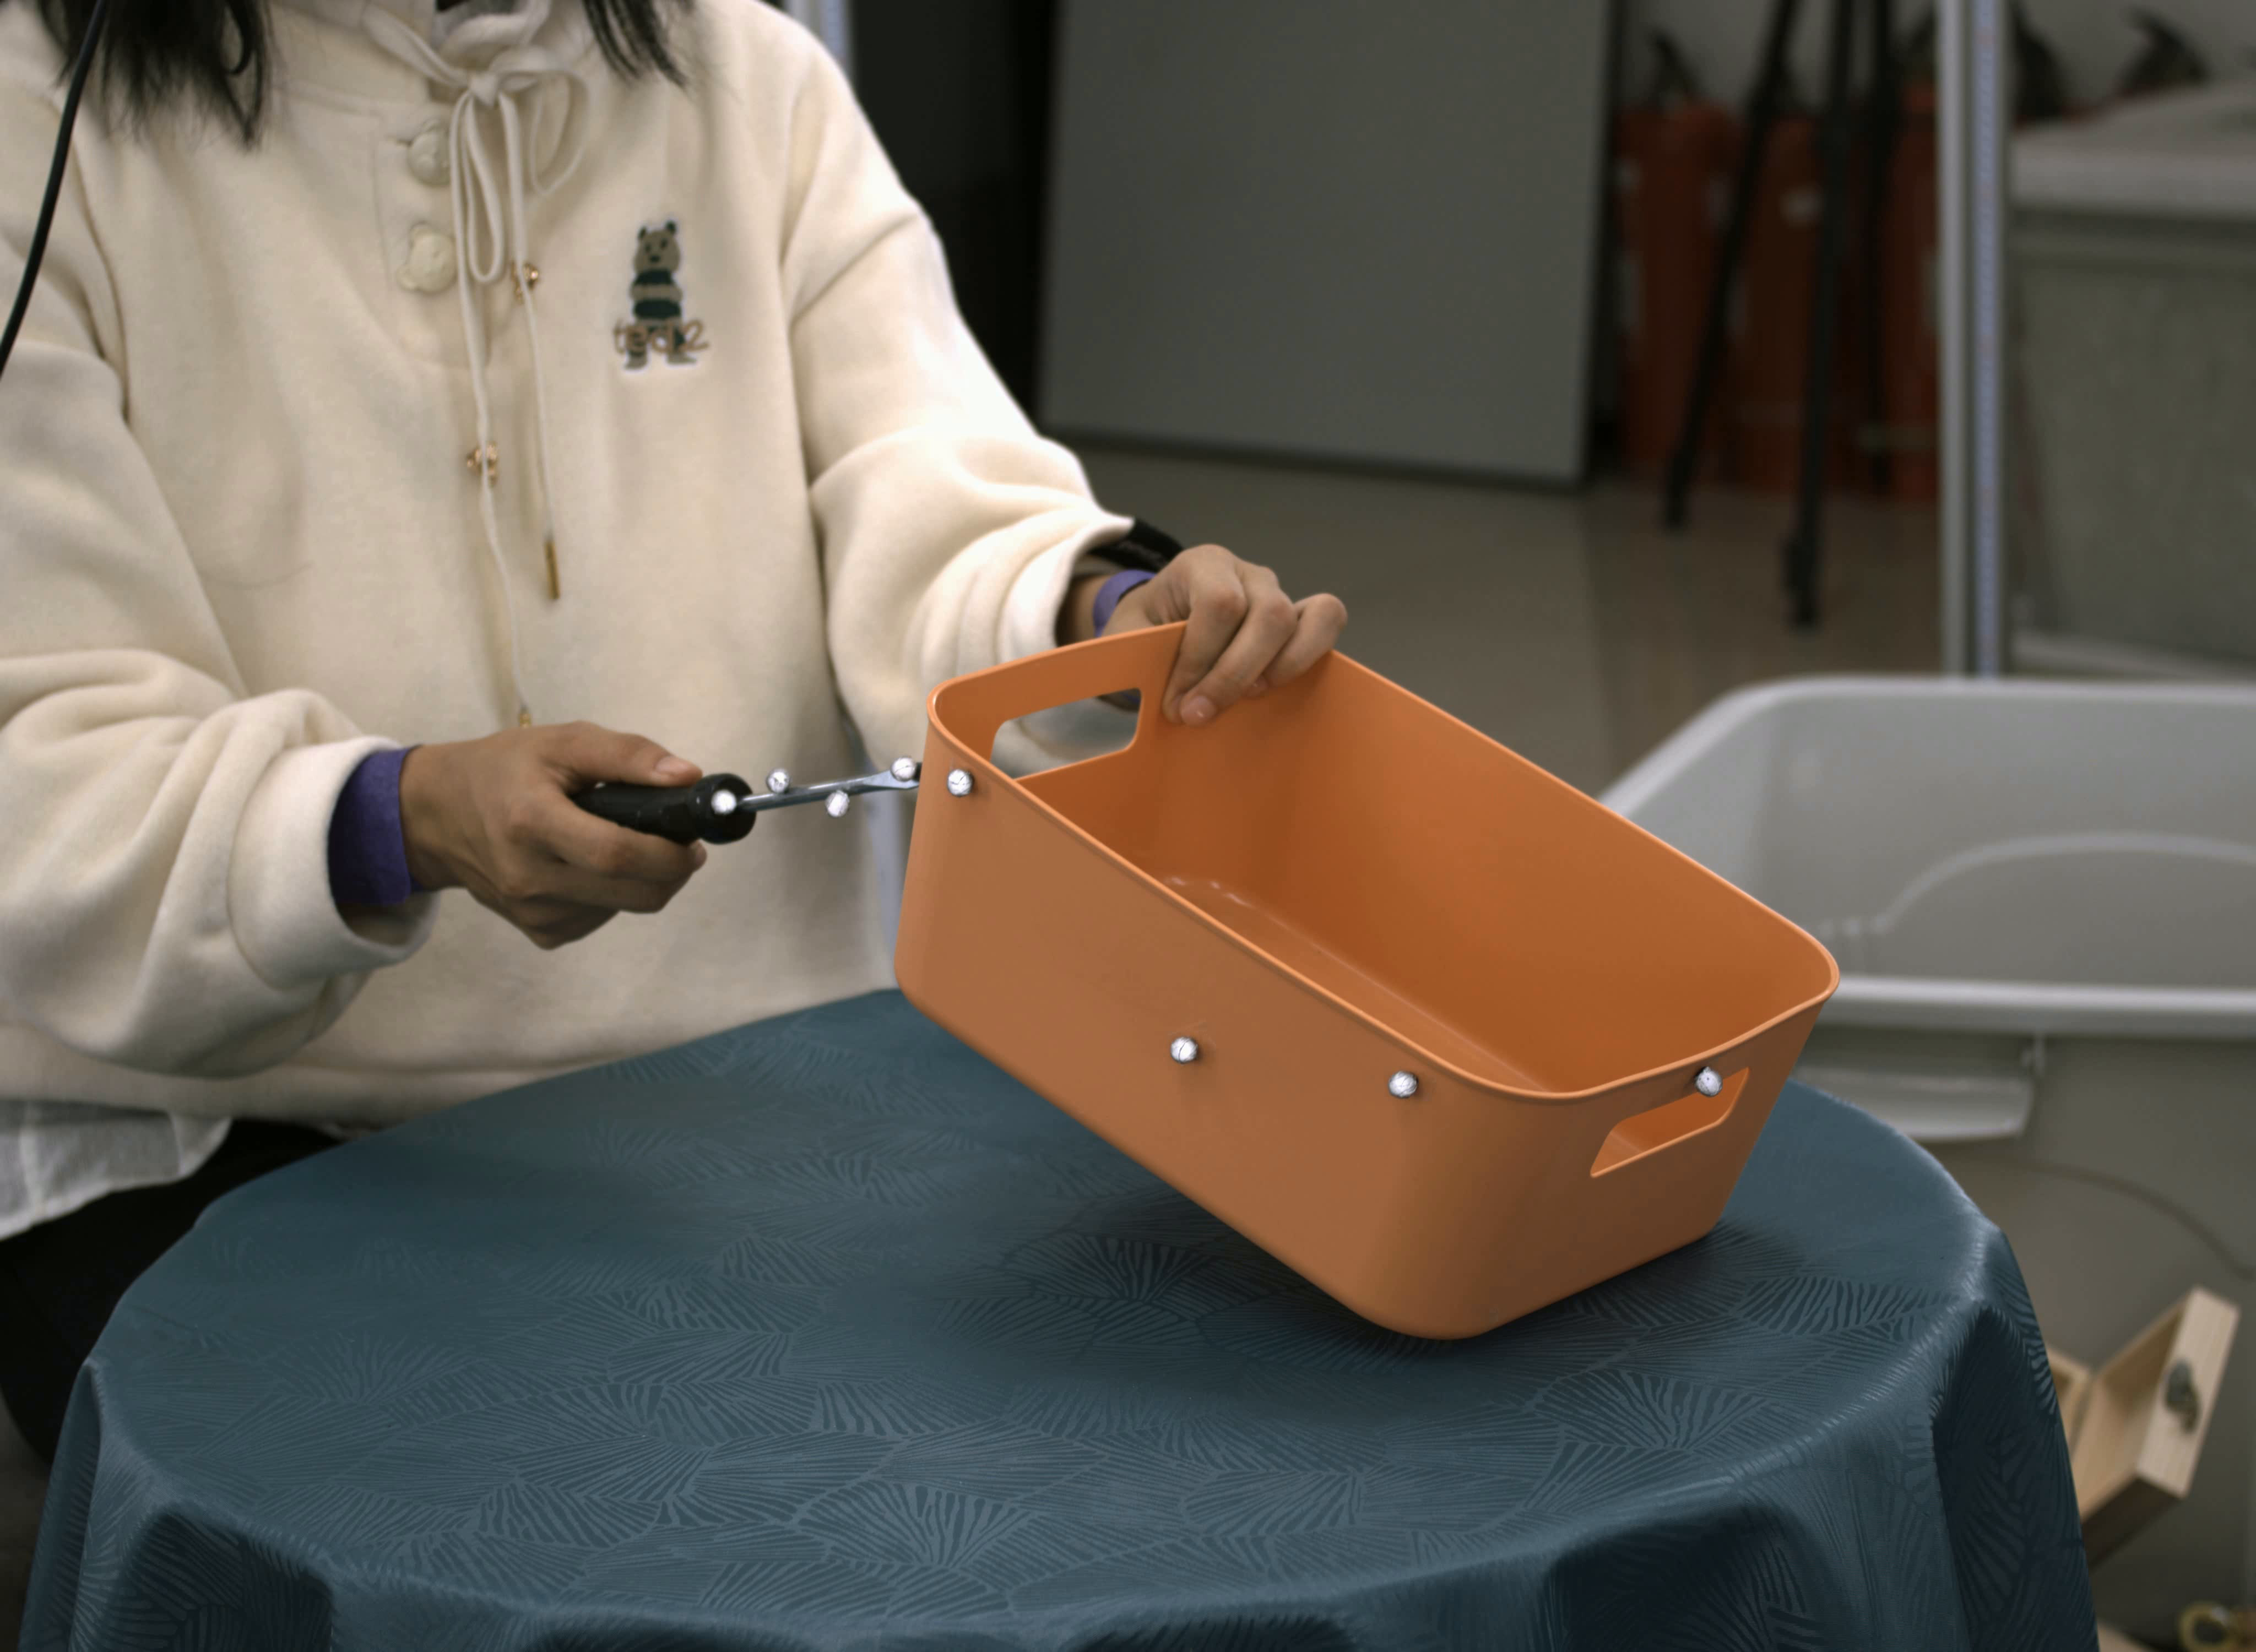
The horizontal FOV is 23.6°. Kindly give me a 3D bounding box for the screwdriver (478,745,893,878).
[{"bbox_3d":[-0.145,-0.012,1.776,0.199,0.032,0.031,-15,2,42],"label":"screwdriver"}]

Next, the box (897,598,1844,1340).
[{"bbox_3d":[0.068,0.042,1.684,0.275,0.103,0.195,33,32,32],"label":"box"}]
